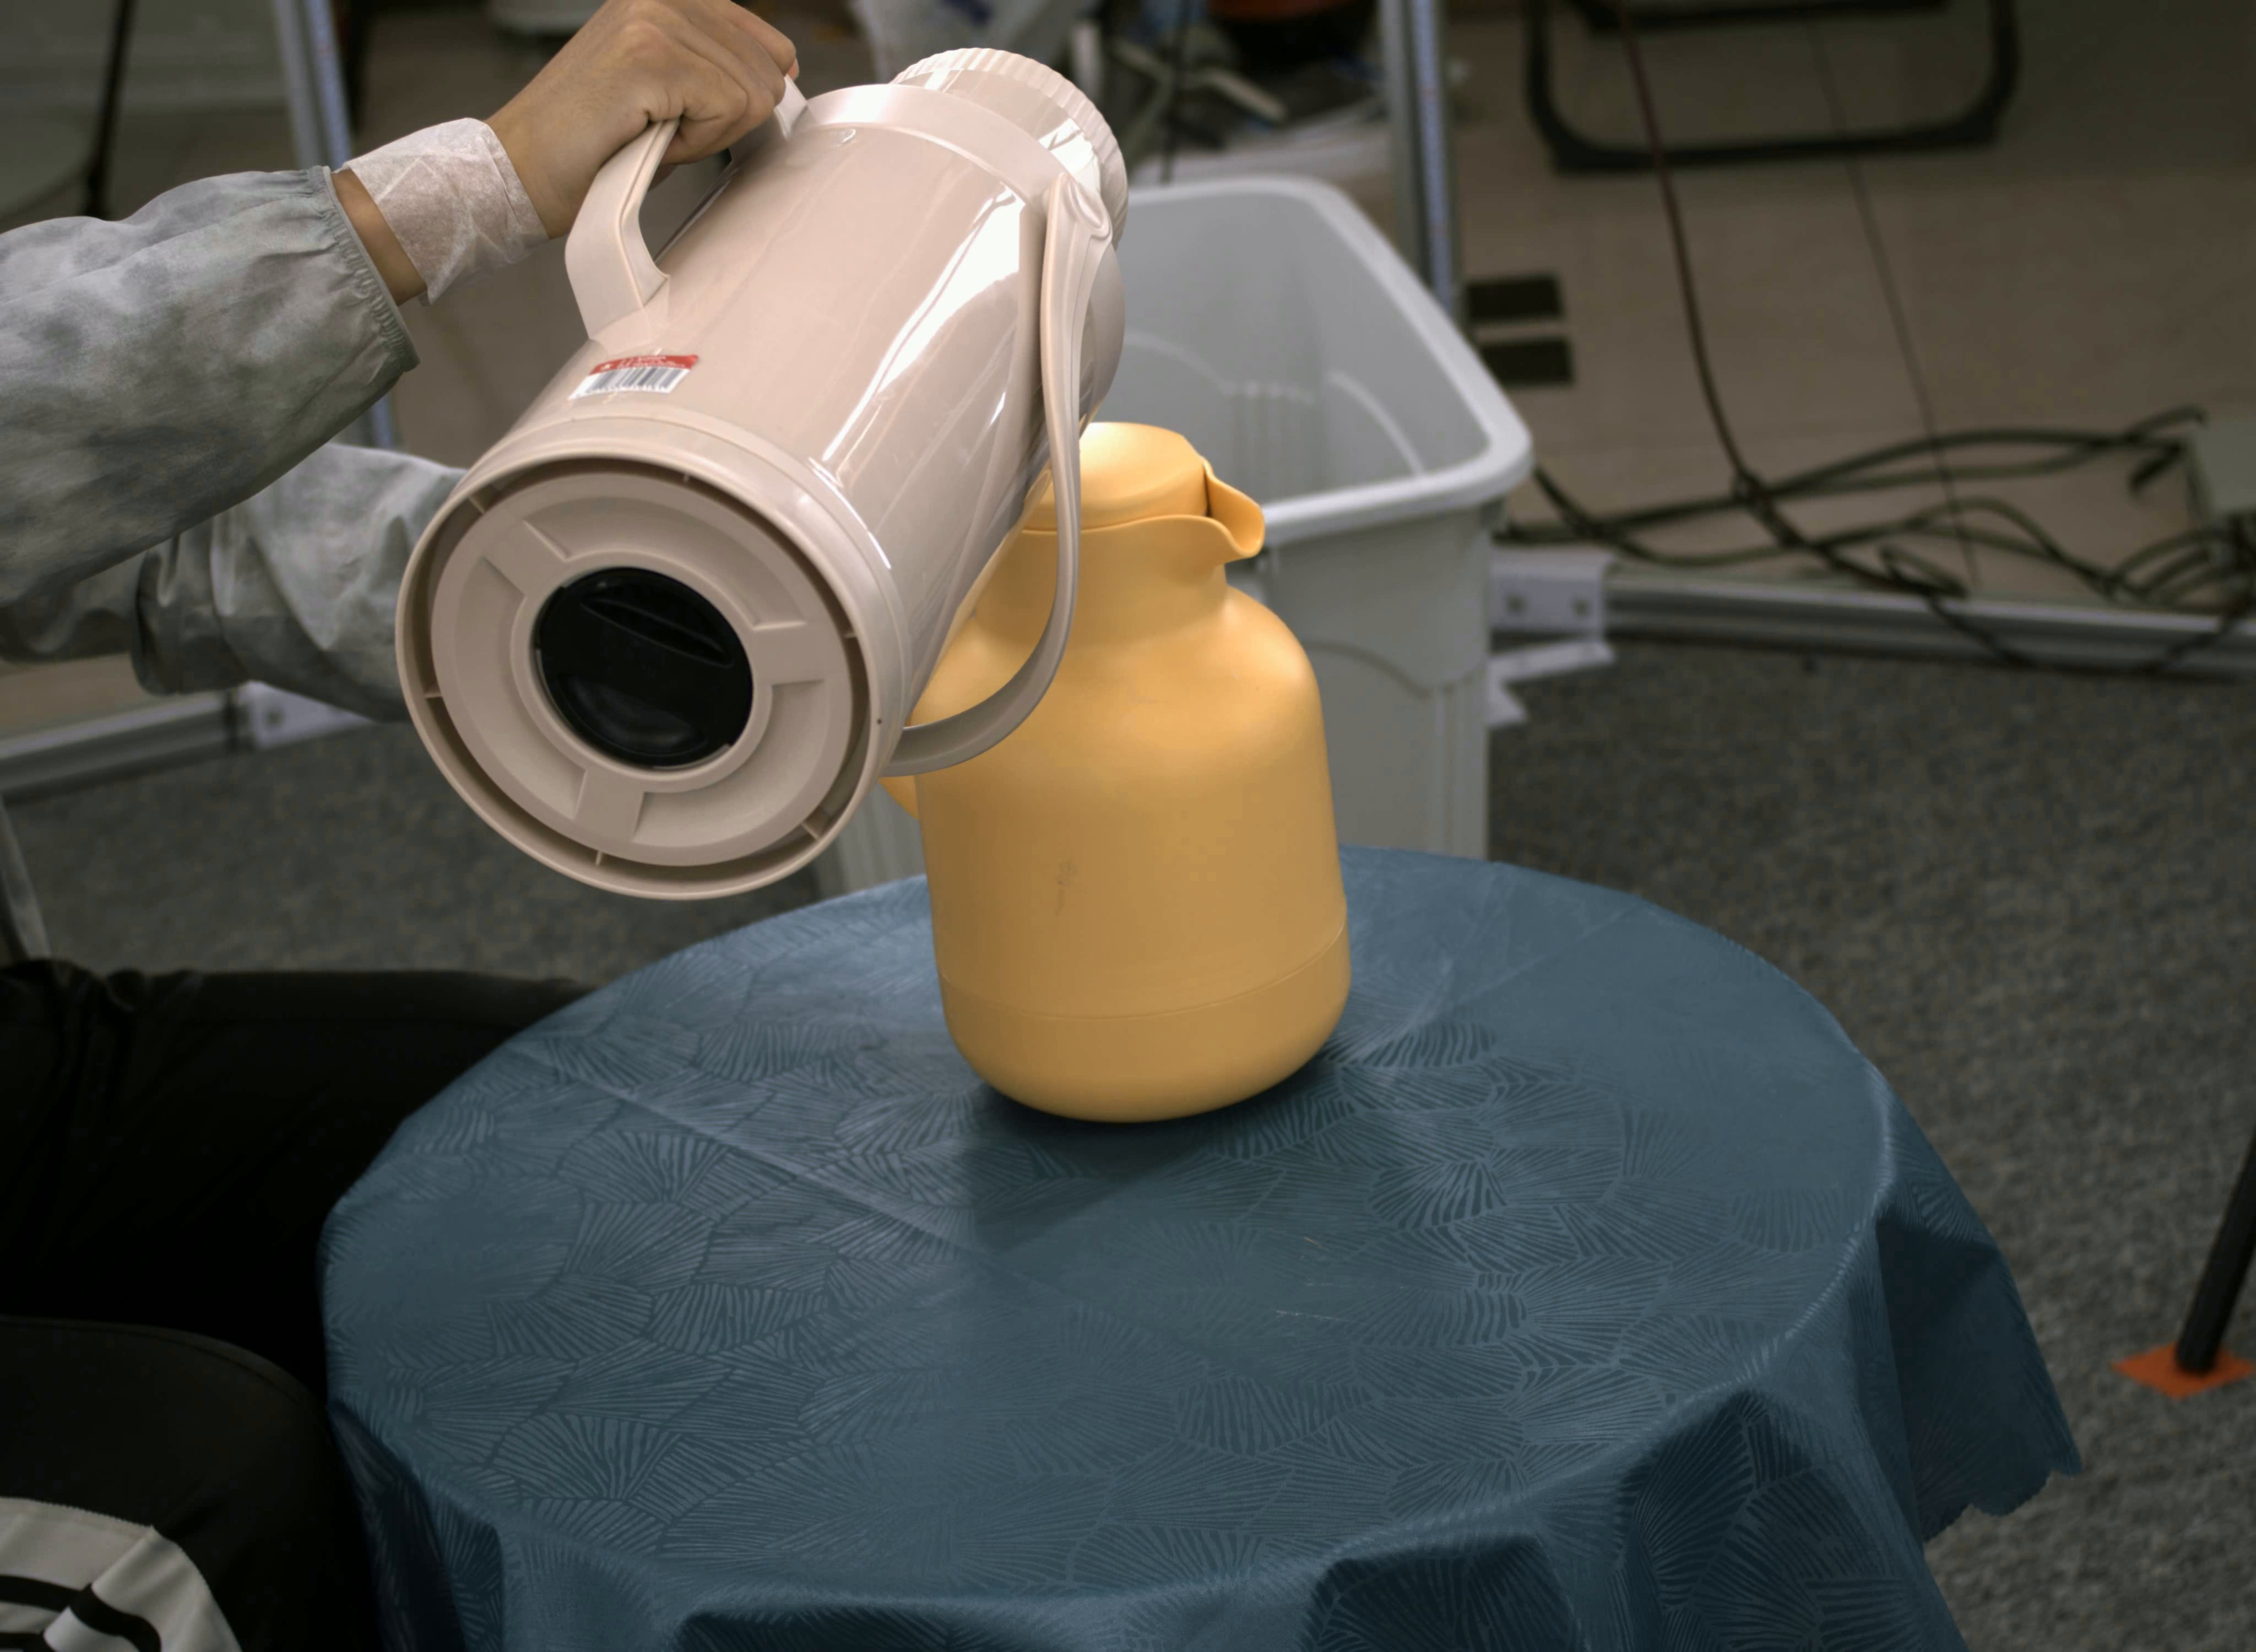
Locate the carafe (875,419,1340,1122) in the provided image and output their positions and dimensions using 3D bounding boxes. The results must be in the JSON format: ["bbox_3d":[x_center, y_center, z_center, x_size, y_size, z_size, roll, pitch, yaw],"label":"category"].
[{"bbox_3d":[-0.019,-0.030,2.203,0.201,0.264,0.162,13,30,33],"label":"carafe"}]

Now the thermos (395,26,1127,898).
[{"bbox_3d":[-0.112,-0.152,1.907,0.176,0.209,0.400,-25,20,30],"label":"thermos"}]
